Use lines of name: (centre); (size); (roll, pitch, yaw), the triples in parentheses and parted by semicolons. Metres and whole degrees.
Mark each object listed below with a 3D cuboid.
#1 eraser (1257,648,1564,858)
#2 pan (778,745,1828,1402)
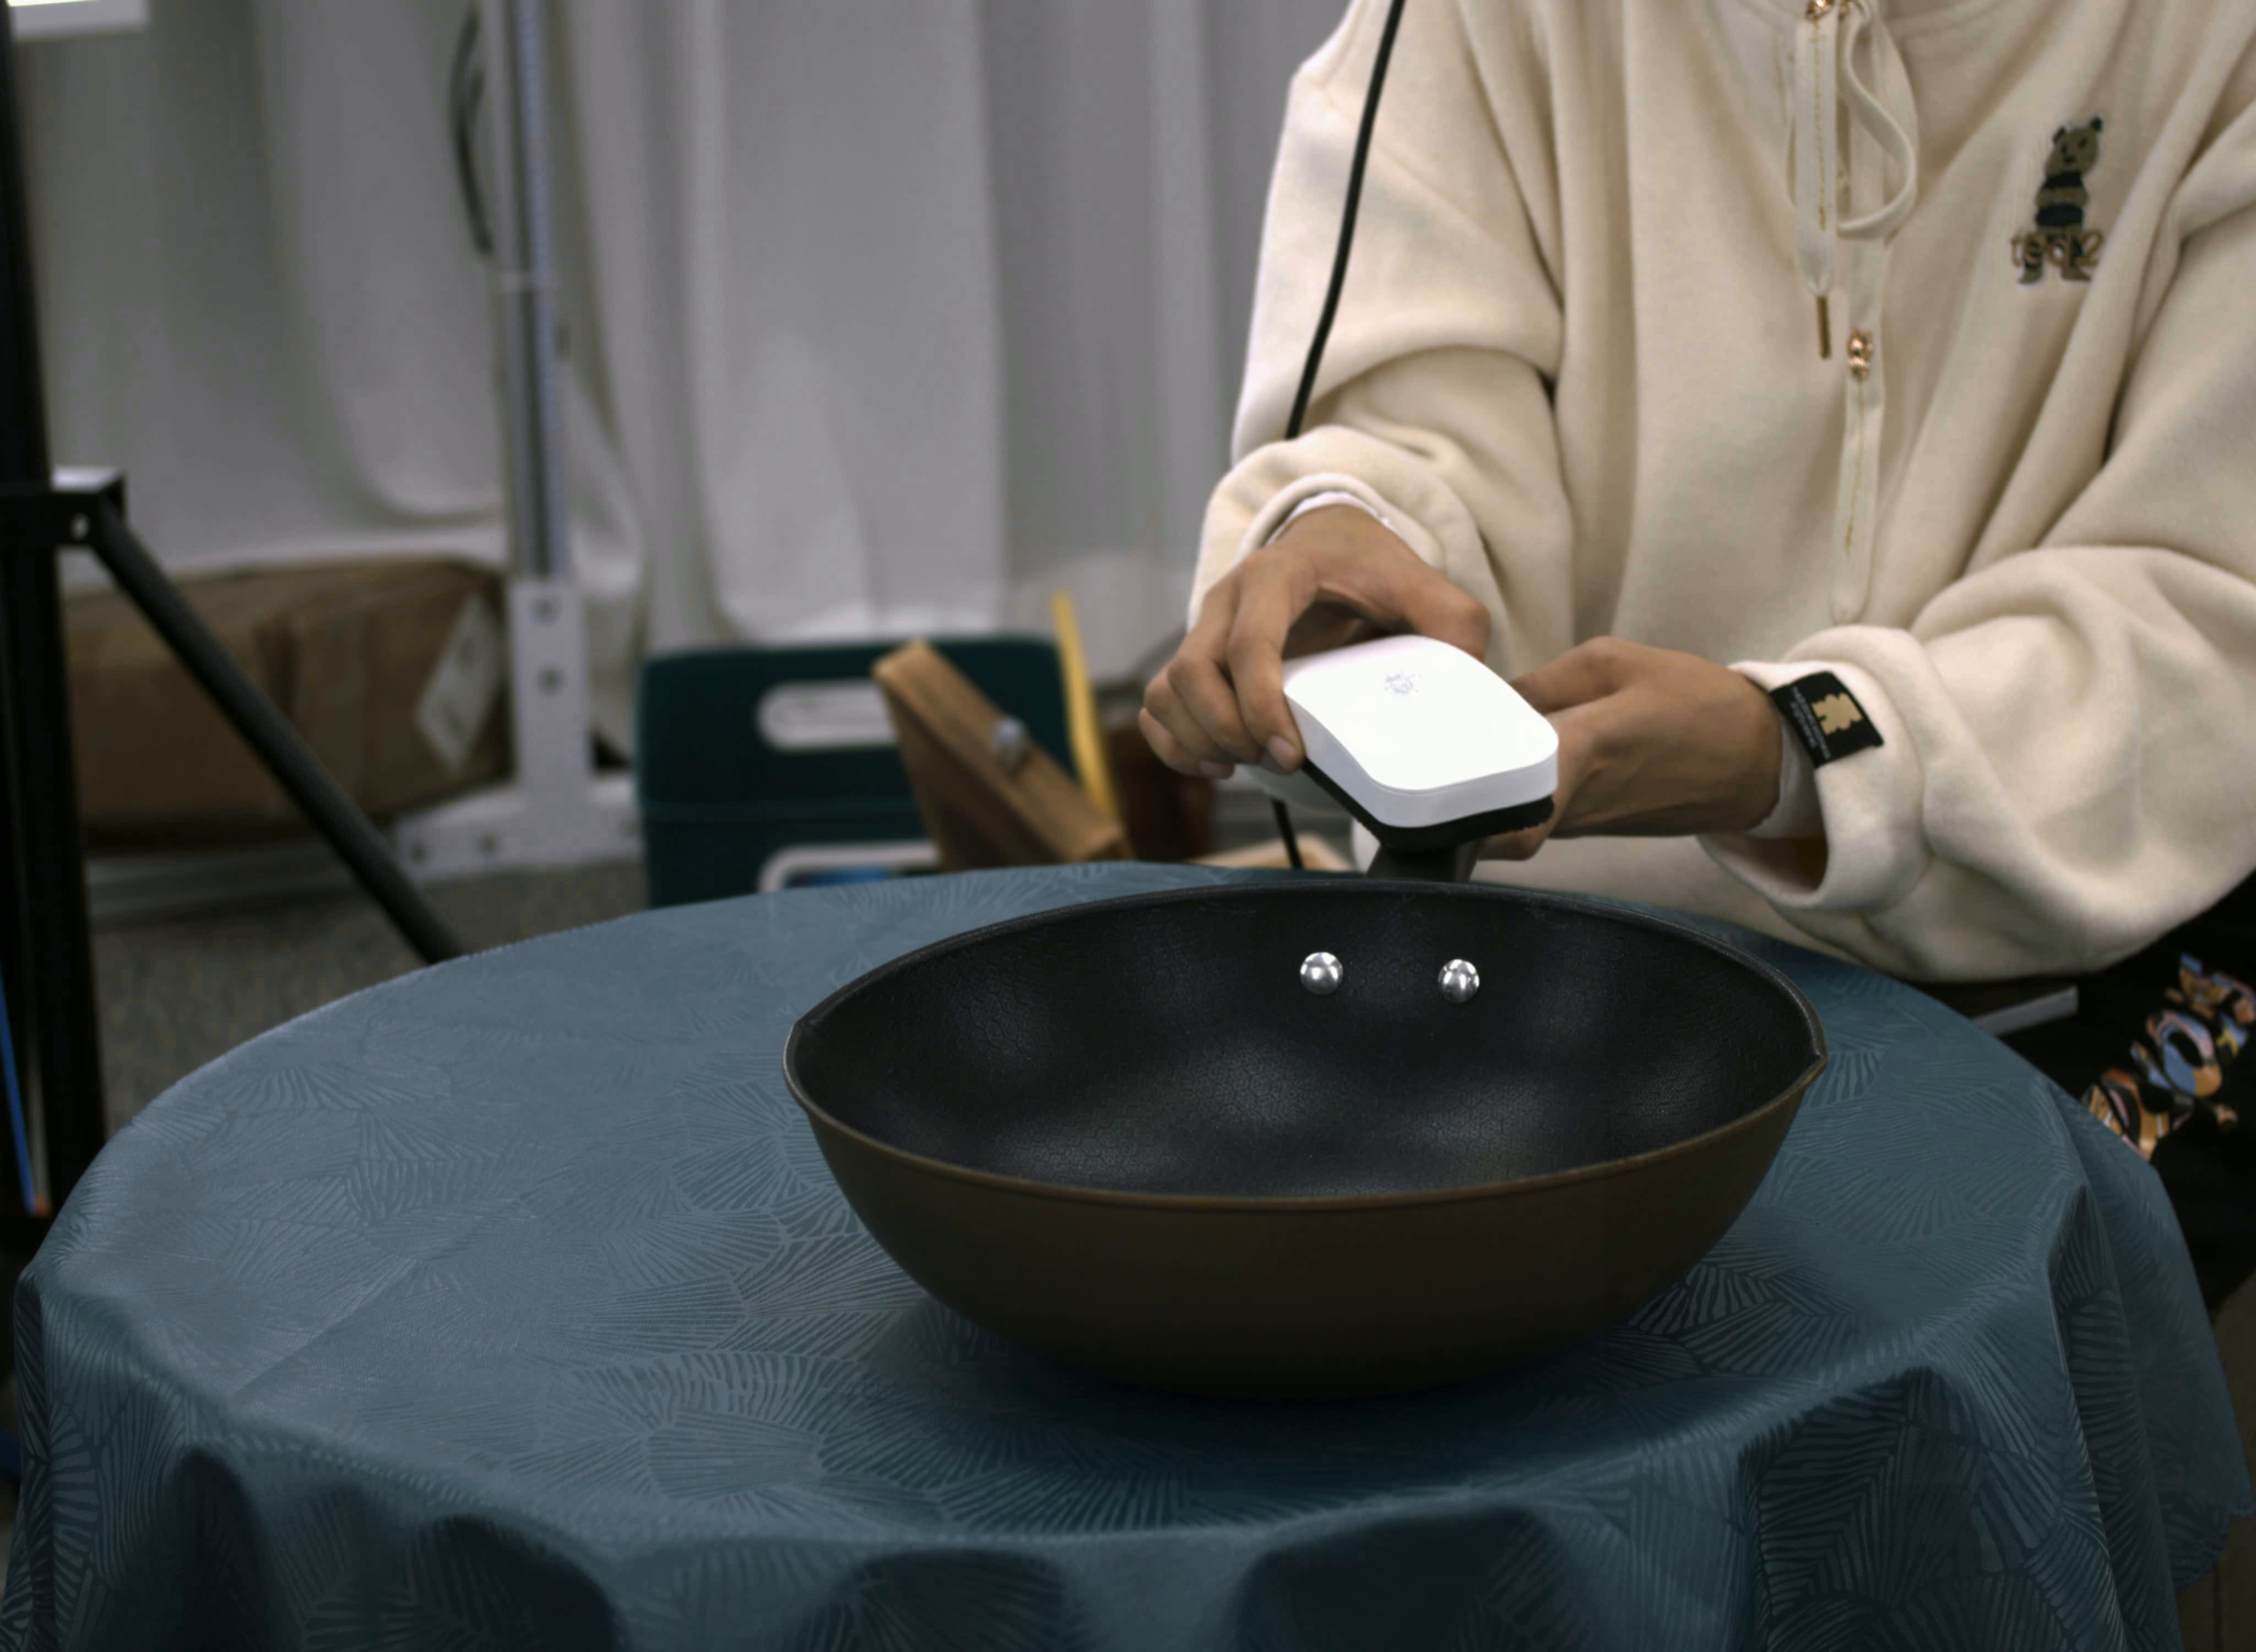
eraser: (0.087, -0.027, 1.639); (0.062, 0.034, 0.133); (-11, 21, -14)
pan: (0.069, 0.068, 1.535); (0.290, 0.087, 0.460); (2, 16, 14)
